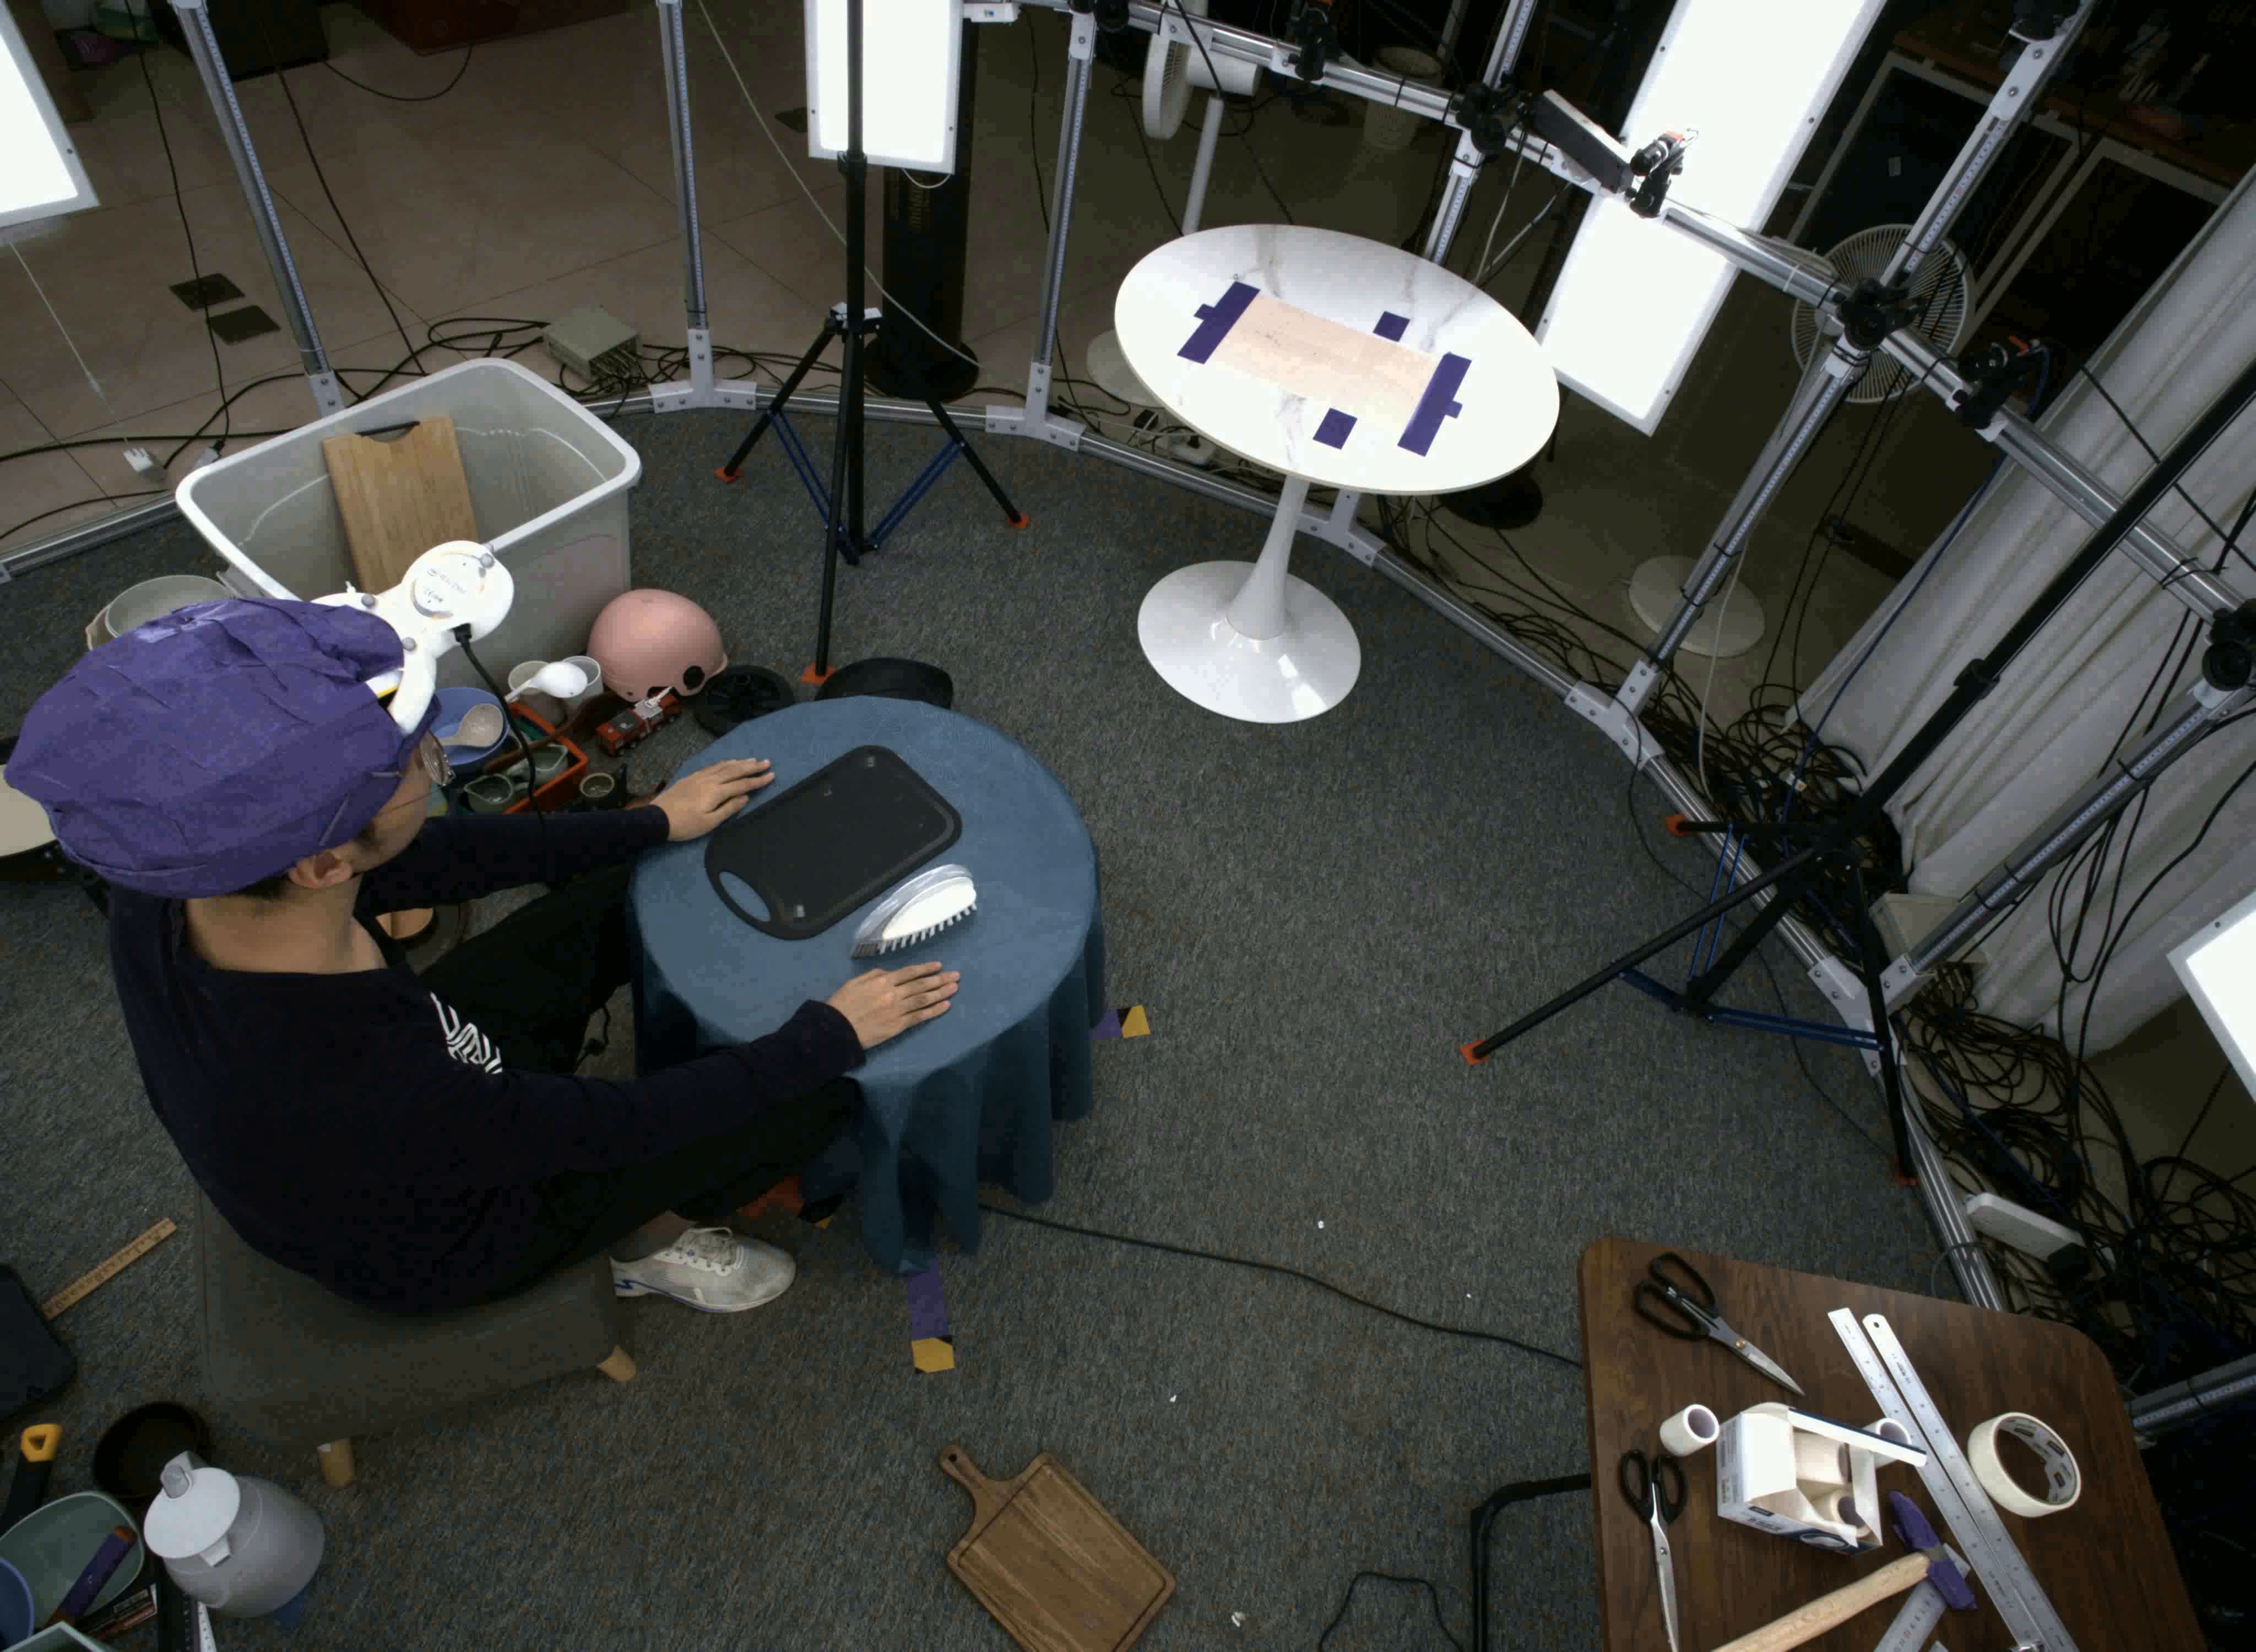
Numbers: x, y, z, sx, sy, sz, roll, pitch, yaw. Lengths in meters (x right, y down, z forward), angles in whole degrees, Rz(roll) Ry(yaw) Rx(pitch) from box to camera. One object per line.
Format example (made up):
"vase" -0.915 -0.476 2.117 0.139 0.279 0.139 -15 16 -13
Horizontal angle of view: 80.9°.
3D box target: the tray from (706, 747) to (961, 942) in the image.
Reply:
"tray" -0.391 0.020 1.714 0.206 0.010 0.326 42 56 18

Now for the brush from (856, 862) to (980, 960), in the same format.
"brush" -0.268 0.101 1.631 0.176 0.096 0.060 -29 62 -27
